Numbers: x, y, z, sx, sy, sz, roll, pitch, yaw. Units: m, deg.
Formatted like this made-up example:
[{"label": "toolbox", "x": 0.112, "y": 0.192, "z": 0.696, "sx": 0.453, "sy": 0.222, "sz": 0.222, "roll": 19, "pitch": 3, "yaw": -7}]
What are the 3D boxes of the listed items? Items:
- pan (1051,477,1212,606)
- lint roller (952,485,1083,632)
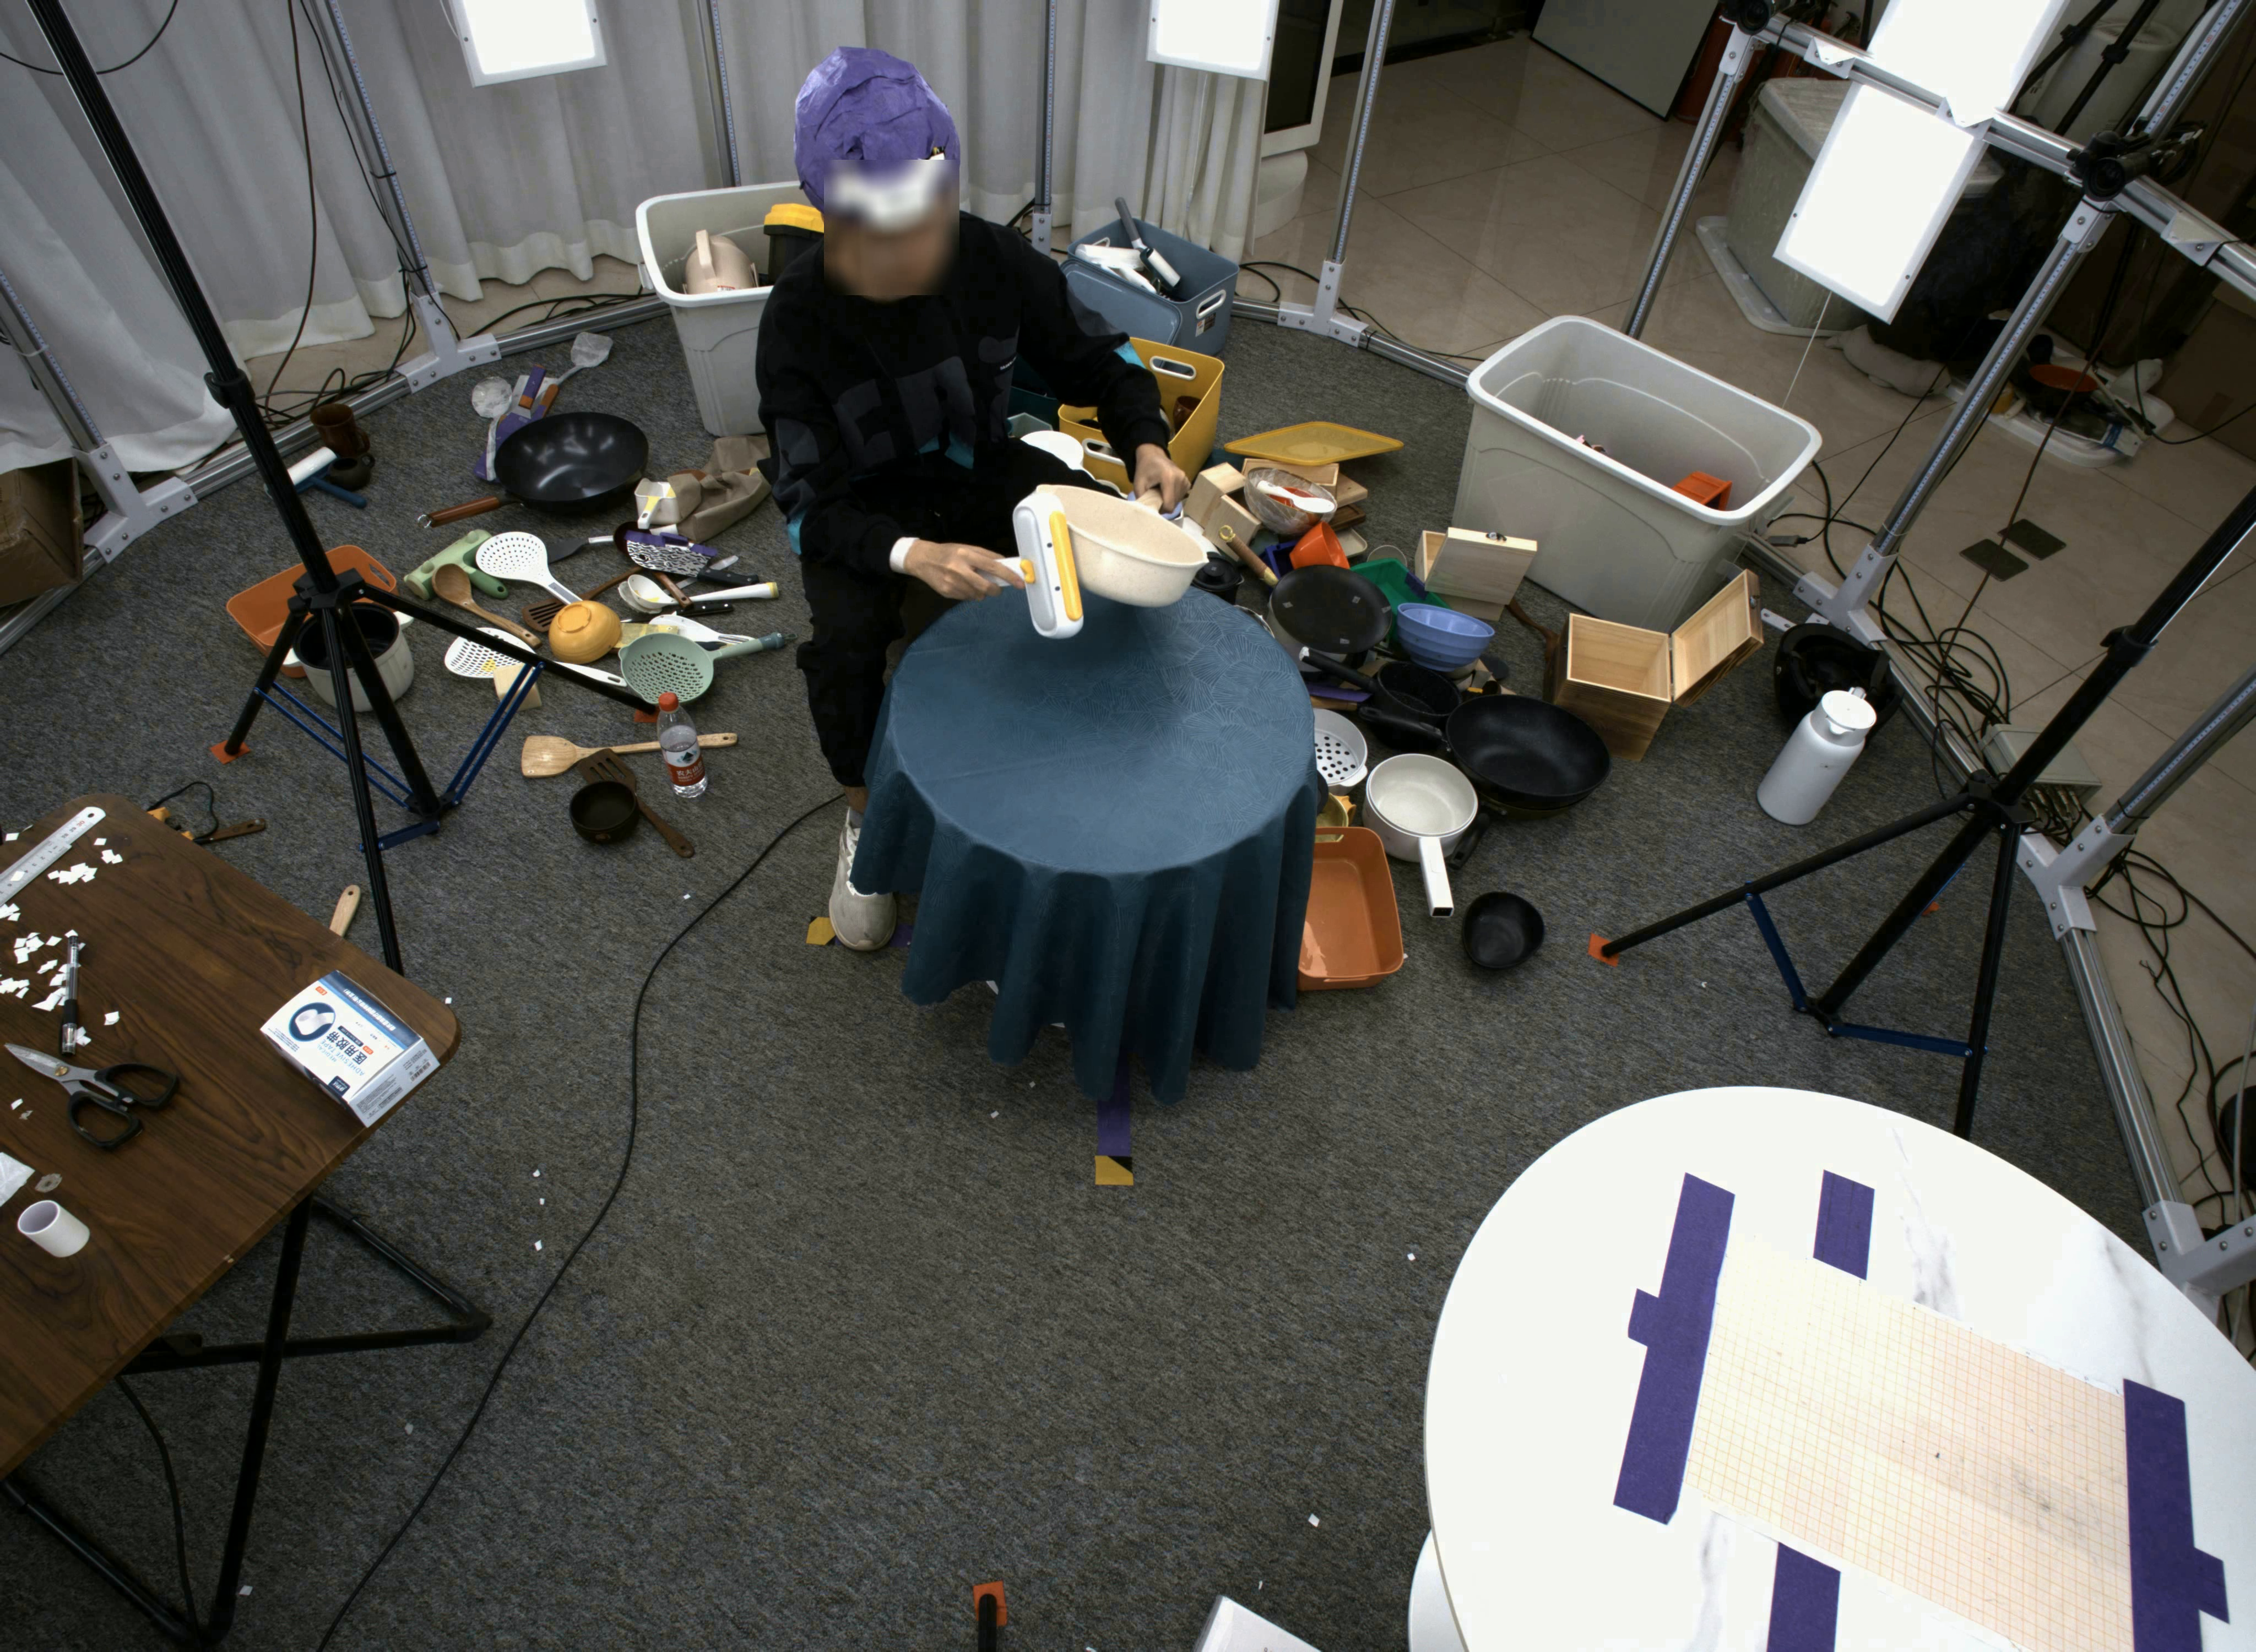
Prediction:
[{"label": "pan", "x": 0.008, "y": -0.431, "z": 1.896, "sx": 0.264, "sy": 0.100, "sz": 0.441, "roll": 22, "pitch": 26, "yaw": 5}, {"label": "lint roller", "x": -0.156, "y": -0.349, "z": 1.741, "sx": 0.193, "sy": 0.190, "sz": 0.075, "roll": -2, "pitch": 21, "yaw": 42}]
